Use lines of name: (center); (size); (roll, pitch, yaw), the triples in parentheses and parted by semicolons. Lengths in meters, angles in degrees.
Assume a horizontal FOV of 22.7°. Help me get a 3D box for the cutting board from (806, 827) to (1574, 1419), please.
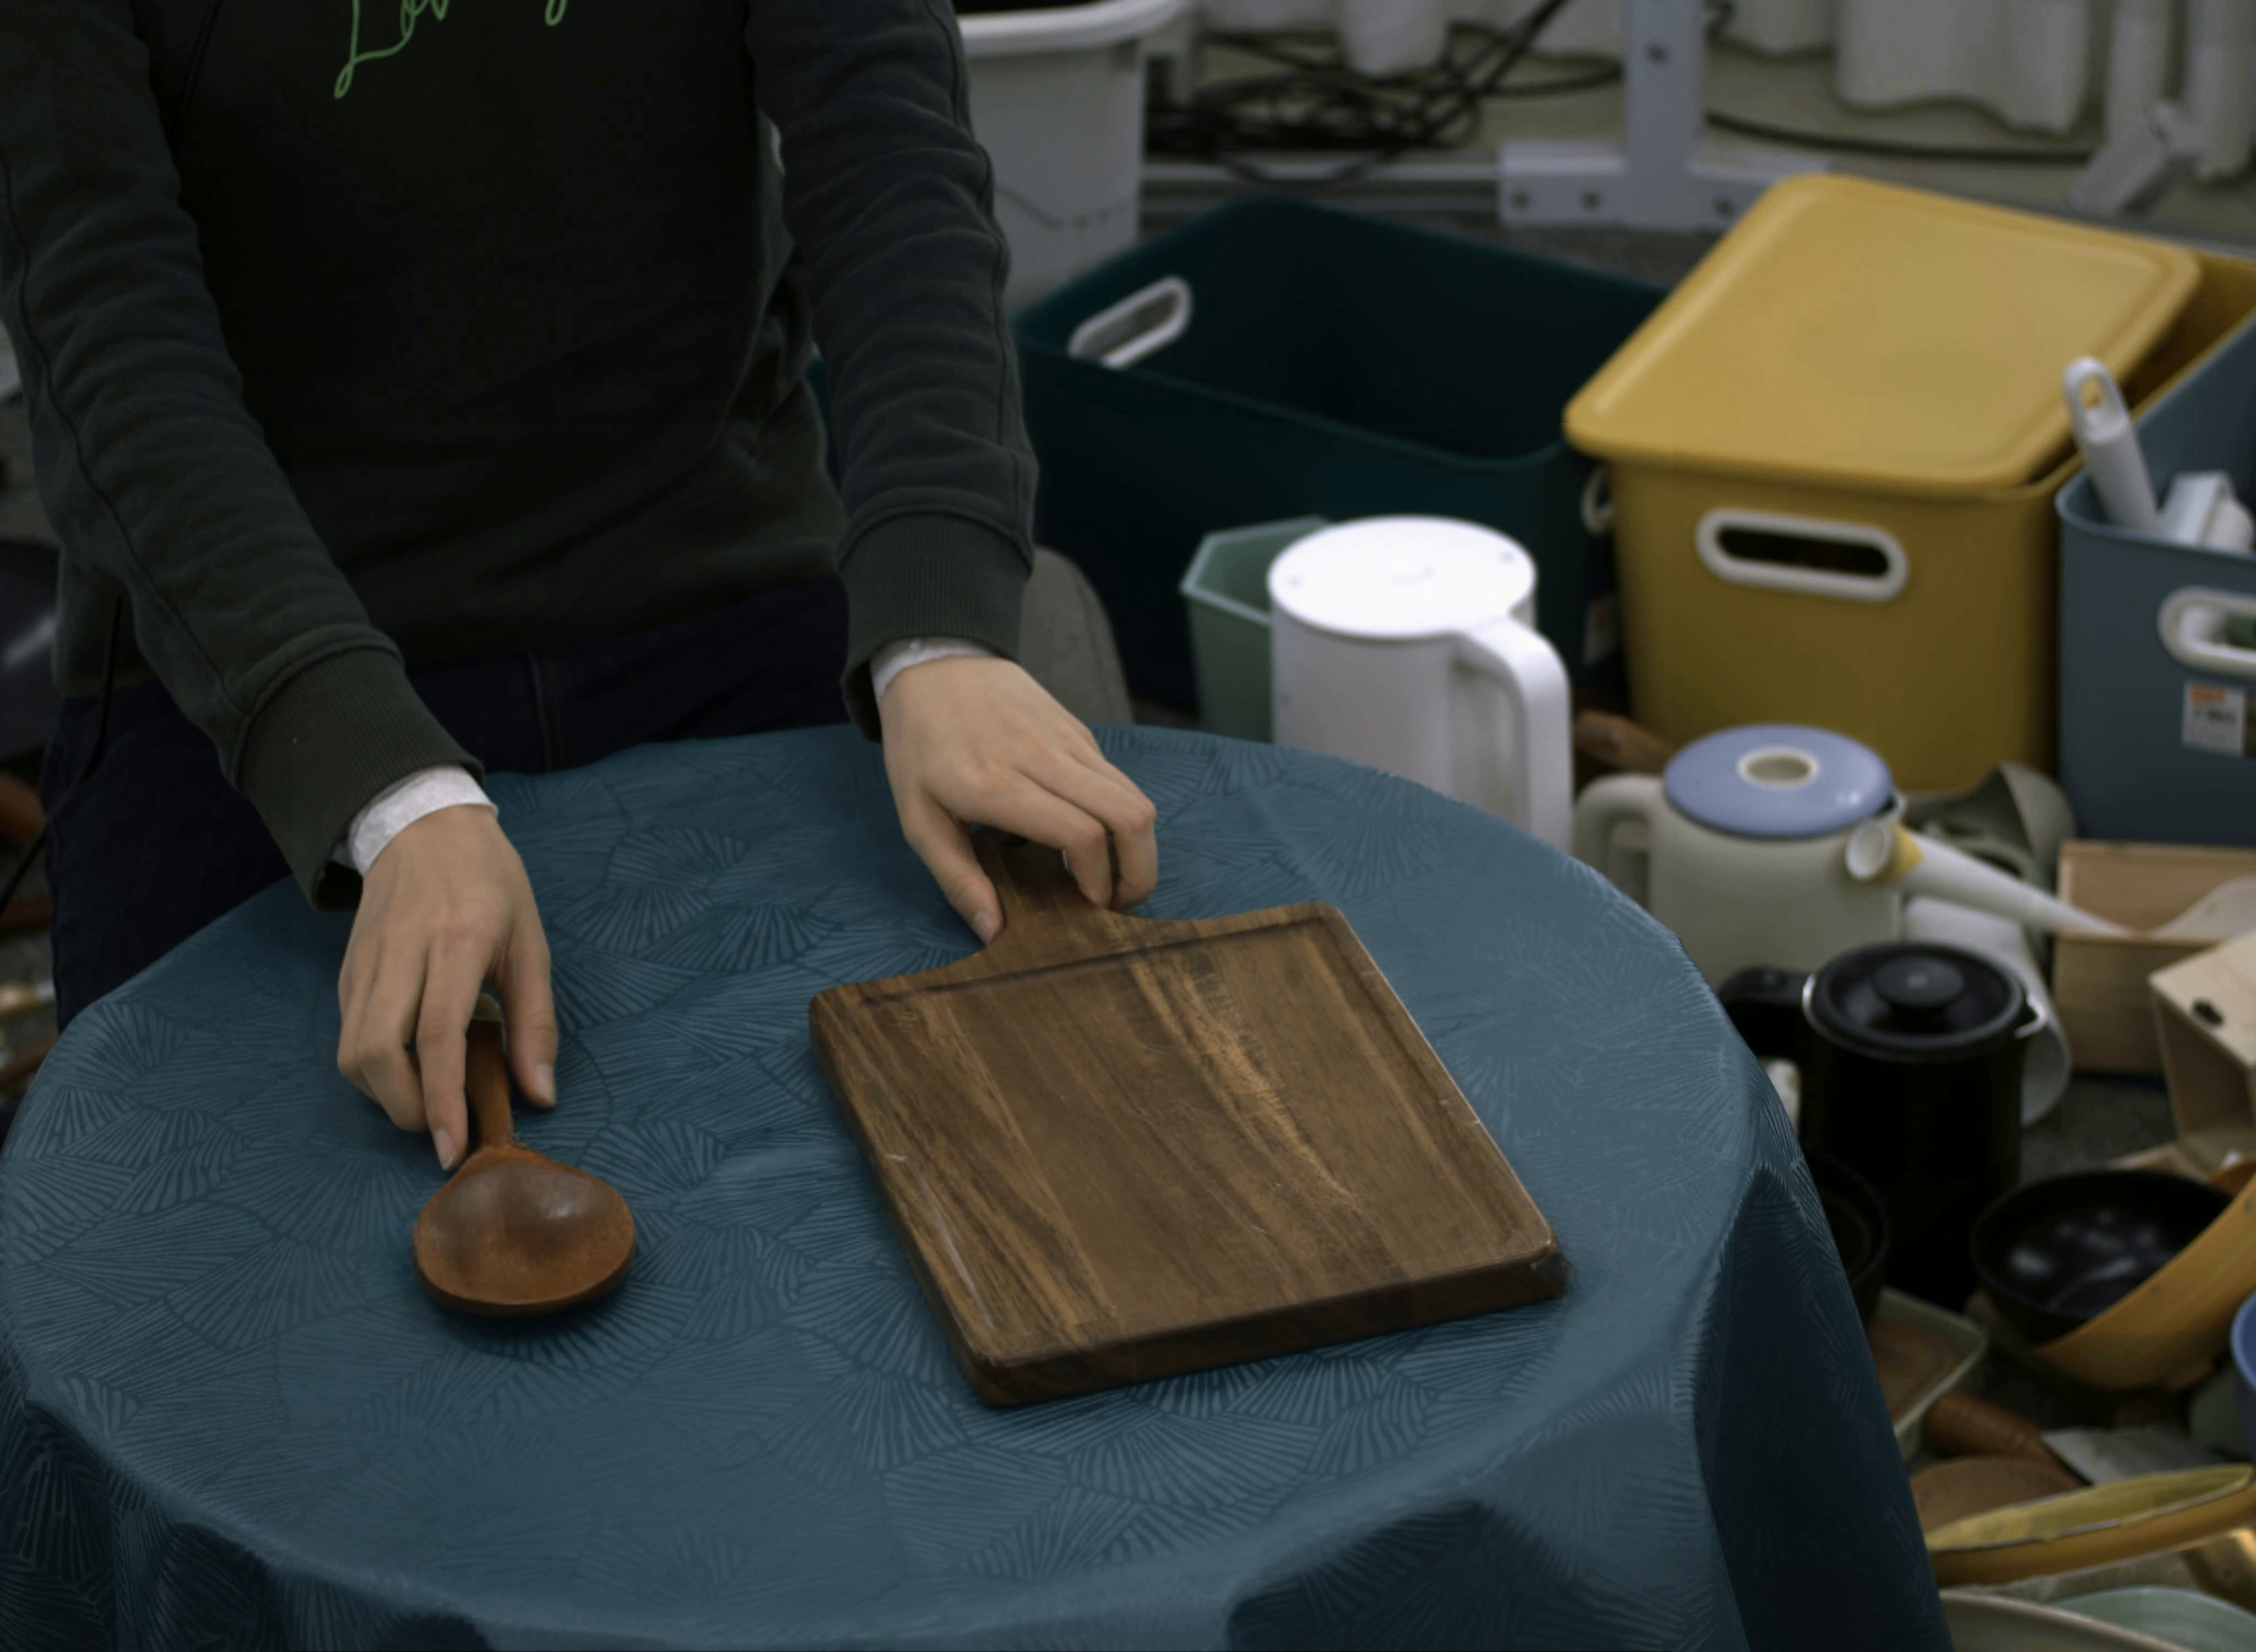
cutting board: (0.002, 0.085, 1.914); (0.201, 0.023, 0.355); (-11, 28, -12)

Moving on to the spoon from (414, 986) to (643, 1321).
spoon: (-0.209, 0.111, 1.884); (0.075, 0.017, 0.218); (-10, 28, -9)
